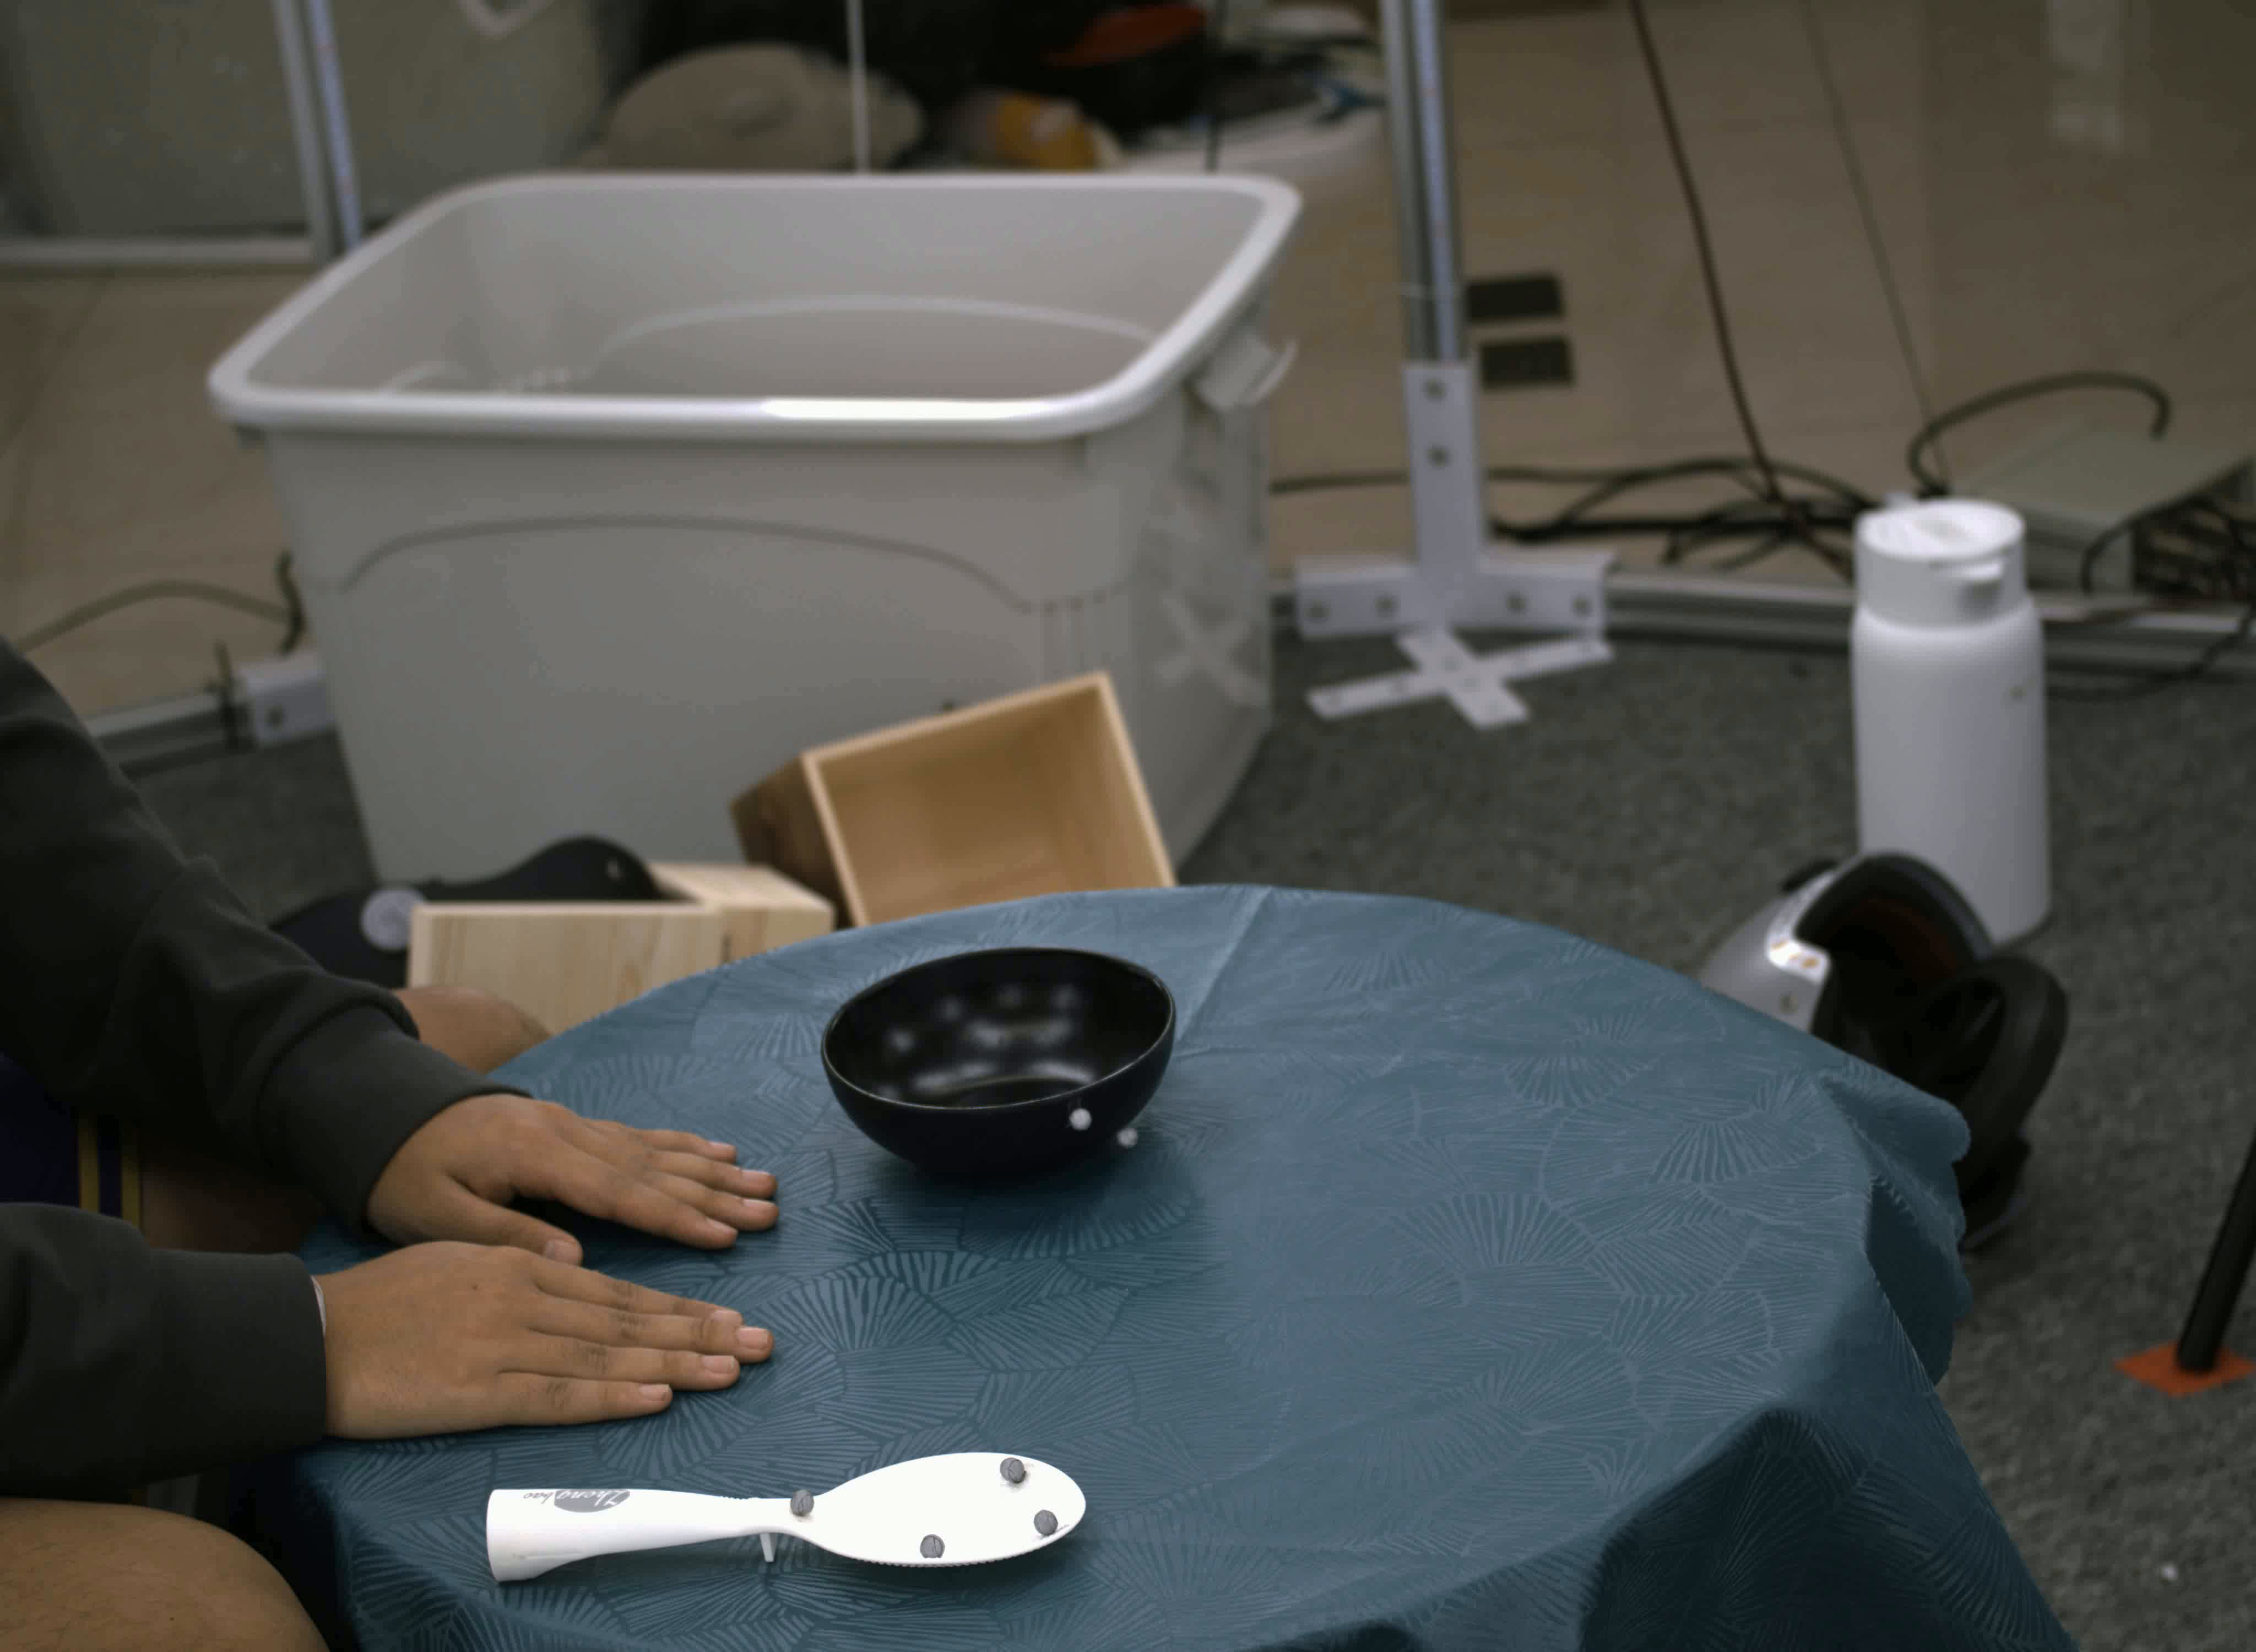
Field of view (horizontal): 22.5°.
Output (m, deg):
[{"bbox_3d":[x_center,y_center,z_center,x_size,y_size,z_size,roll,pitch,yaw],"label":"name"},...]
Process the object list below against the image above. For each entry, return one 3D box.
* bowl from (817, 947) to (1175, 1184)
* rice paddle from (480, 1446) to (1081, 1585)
[{"bbox_3d":[-0.048,0.100,2.188,0.140,0.050,0.138,-7,26,3],"label":"bowl"},{"bbox_3d":[-0.118,0.234,1.936,0.205,0.030,0.068,-5,26,5],"label":"rice paddle"}]
